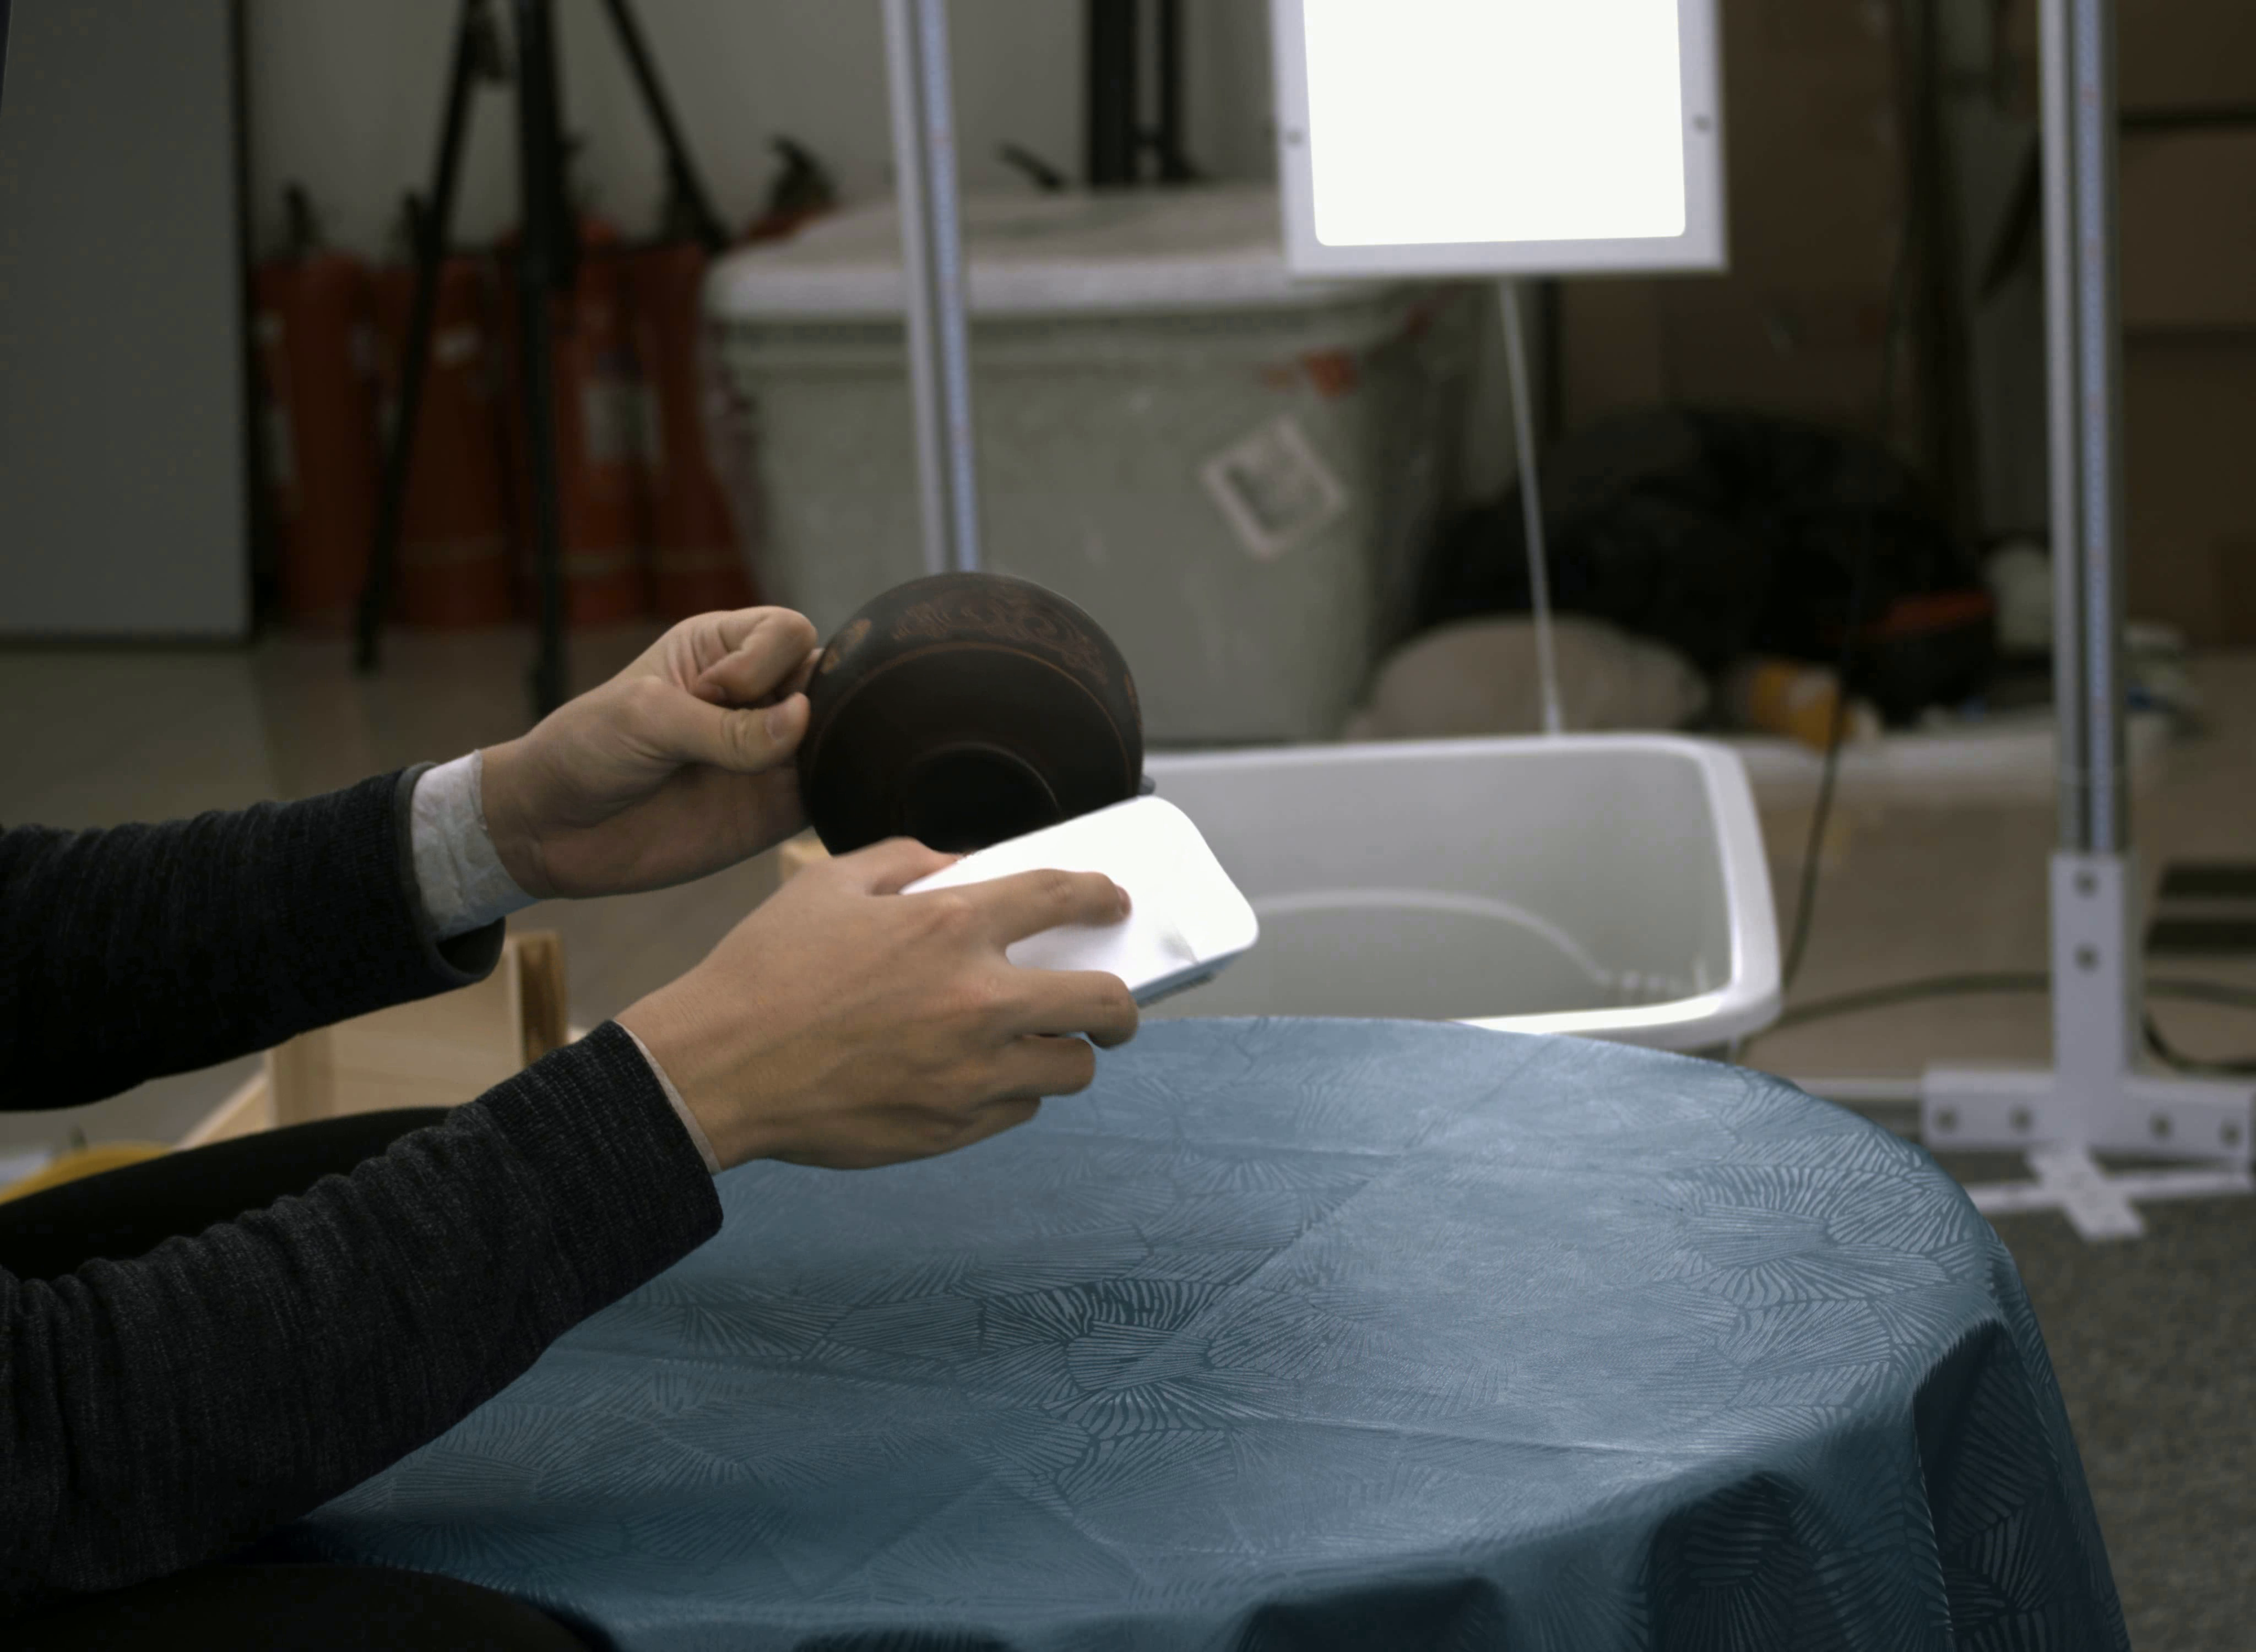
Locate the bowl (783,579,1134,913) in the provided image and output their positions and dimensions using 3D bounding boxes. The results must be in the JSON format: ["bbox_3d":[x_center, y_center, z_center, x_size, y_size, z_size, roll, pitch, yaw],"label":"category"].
[{"bbox_3d":[-0.055,-0.015,1.821,0.118,0.118,0.070,-4,35,0],"label":"bowl"}]

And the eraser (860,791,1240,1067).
[{"bbox_3d":[-0.024,0.030,1.740,0.128,0.064,0.035,-21,-20,-40],"label":"eraser"}]
